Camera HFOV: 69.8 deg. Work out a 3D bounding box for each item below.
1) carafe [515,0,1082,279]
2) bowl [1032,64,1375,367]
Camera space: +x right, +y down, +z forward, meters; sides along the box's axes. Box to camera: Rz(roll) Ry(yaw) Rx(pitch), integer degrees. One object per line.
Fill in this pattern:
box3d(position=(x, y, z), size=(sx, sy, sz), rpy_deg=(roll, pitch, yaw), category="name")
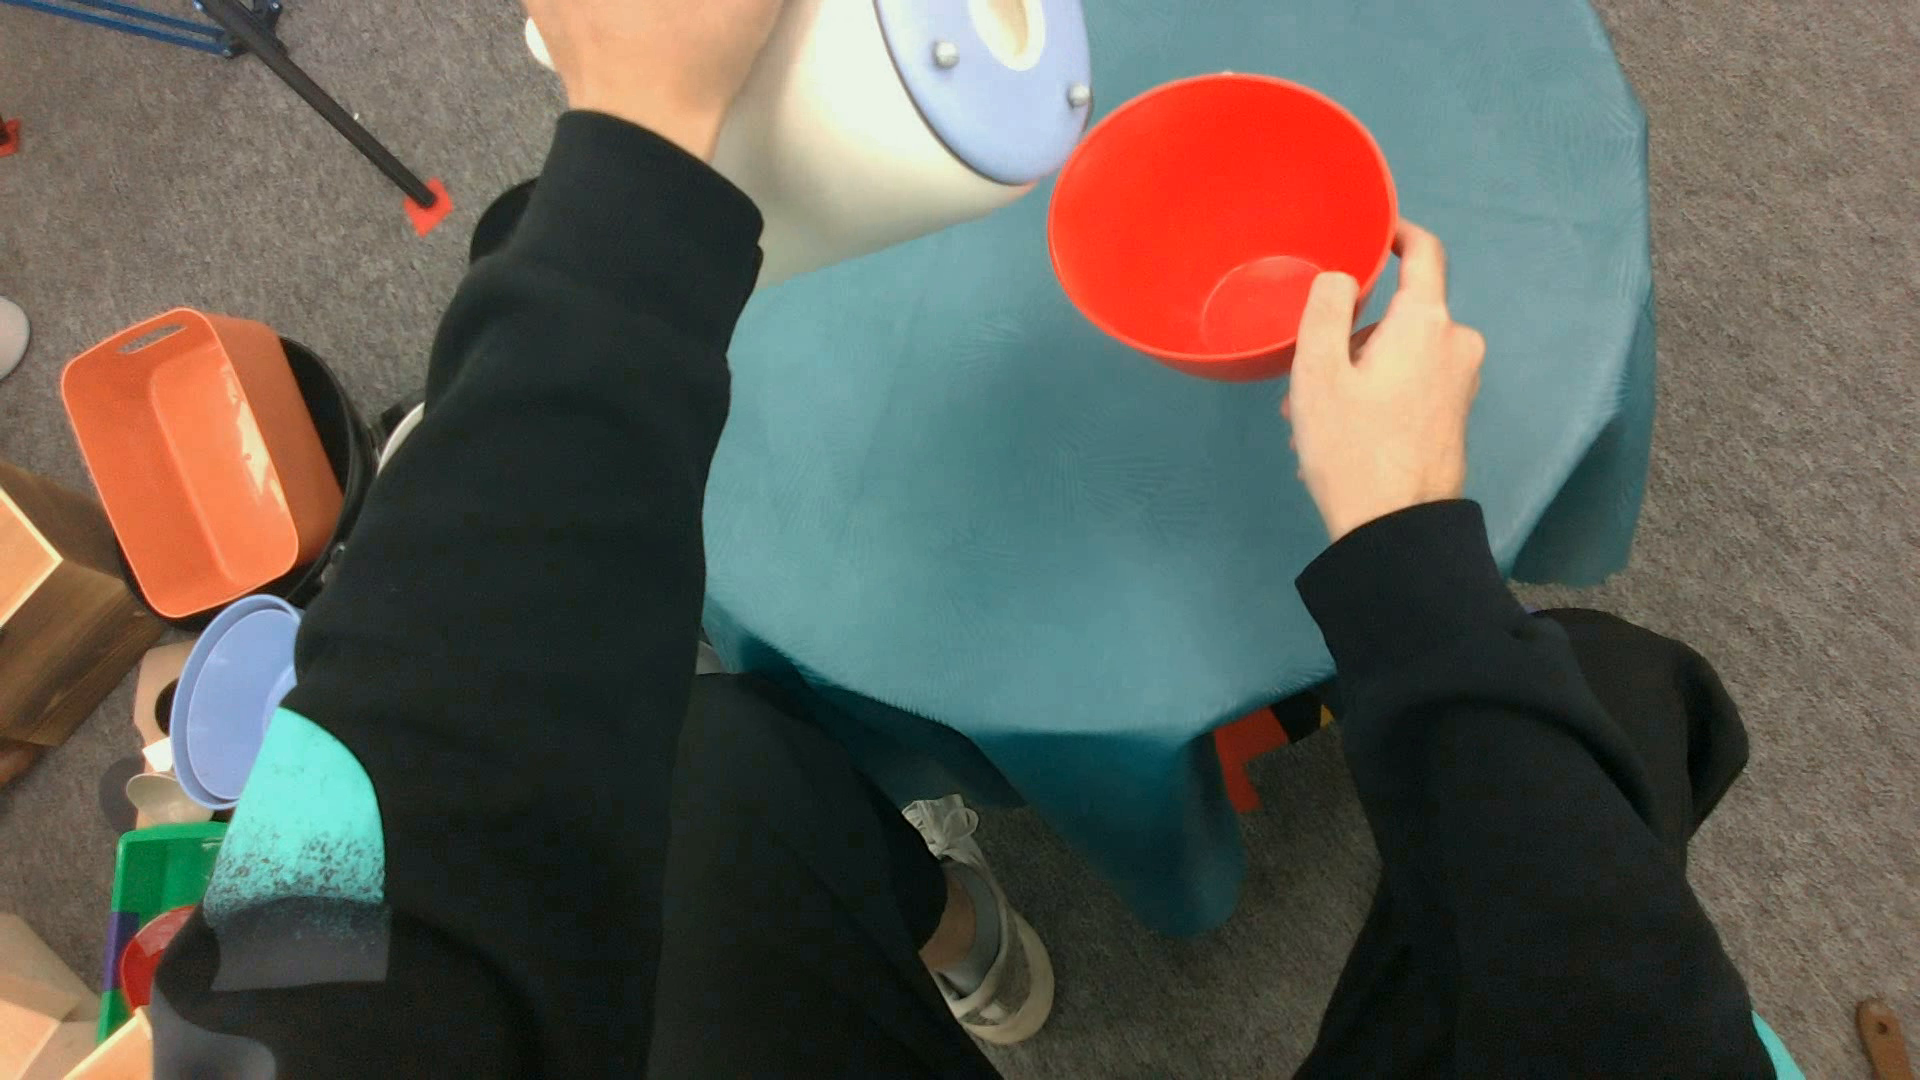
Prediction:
box3d(position=(-0.072, -0.190, 0.535), size=(0.182, 0.191, 0.132), rpy_deg=(-9, 74, 41), category="carafe")
box3d(position=(0.119, -0.136, 0.642), size=(0.148, 0.104, 0.148), rpy_deg=(-8, 65, 18), category="bowl")
